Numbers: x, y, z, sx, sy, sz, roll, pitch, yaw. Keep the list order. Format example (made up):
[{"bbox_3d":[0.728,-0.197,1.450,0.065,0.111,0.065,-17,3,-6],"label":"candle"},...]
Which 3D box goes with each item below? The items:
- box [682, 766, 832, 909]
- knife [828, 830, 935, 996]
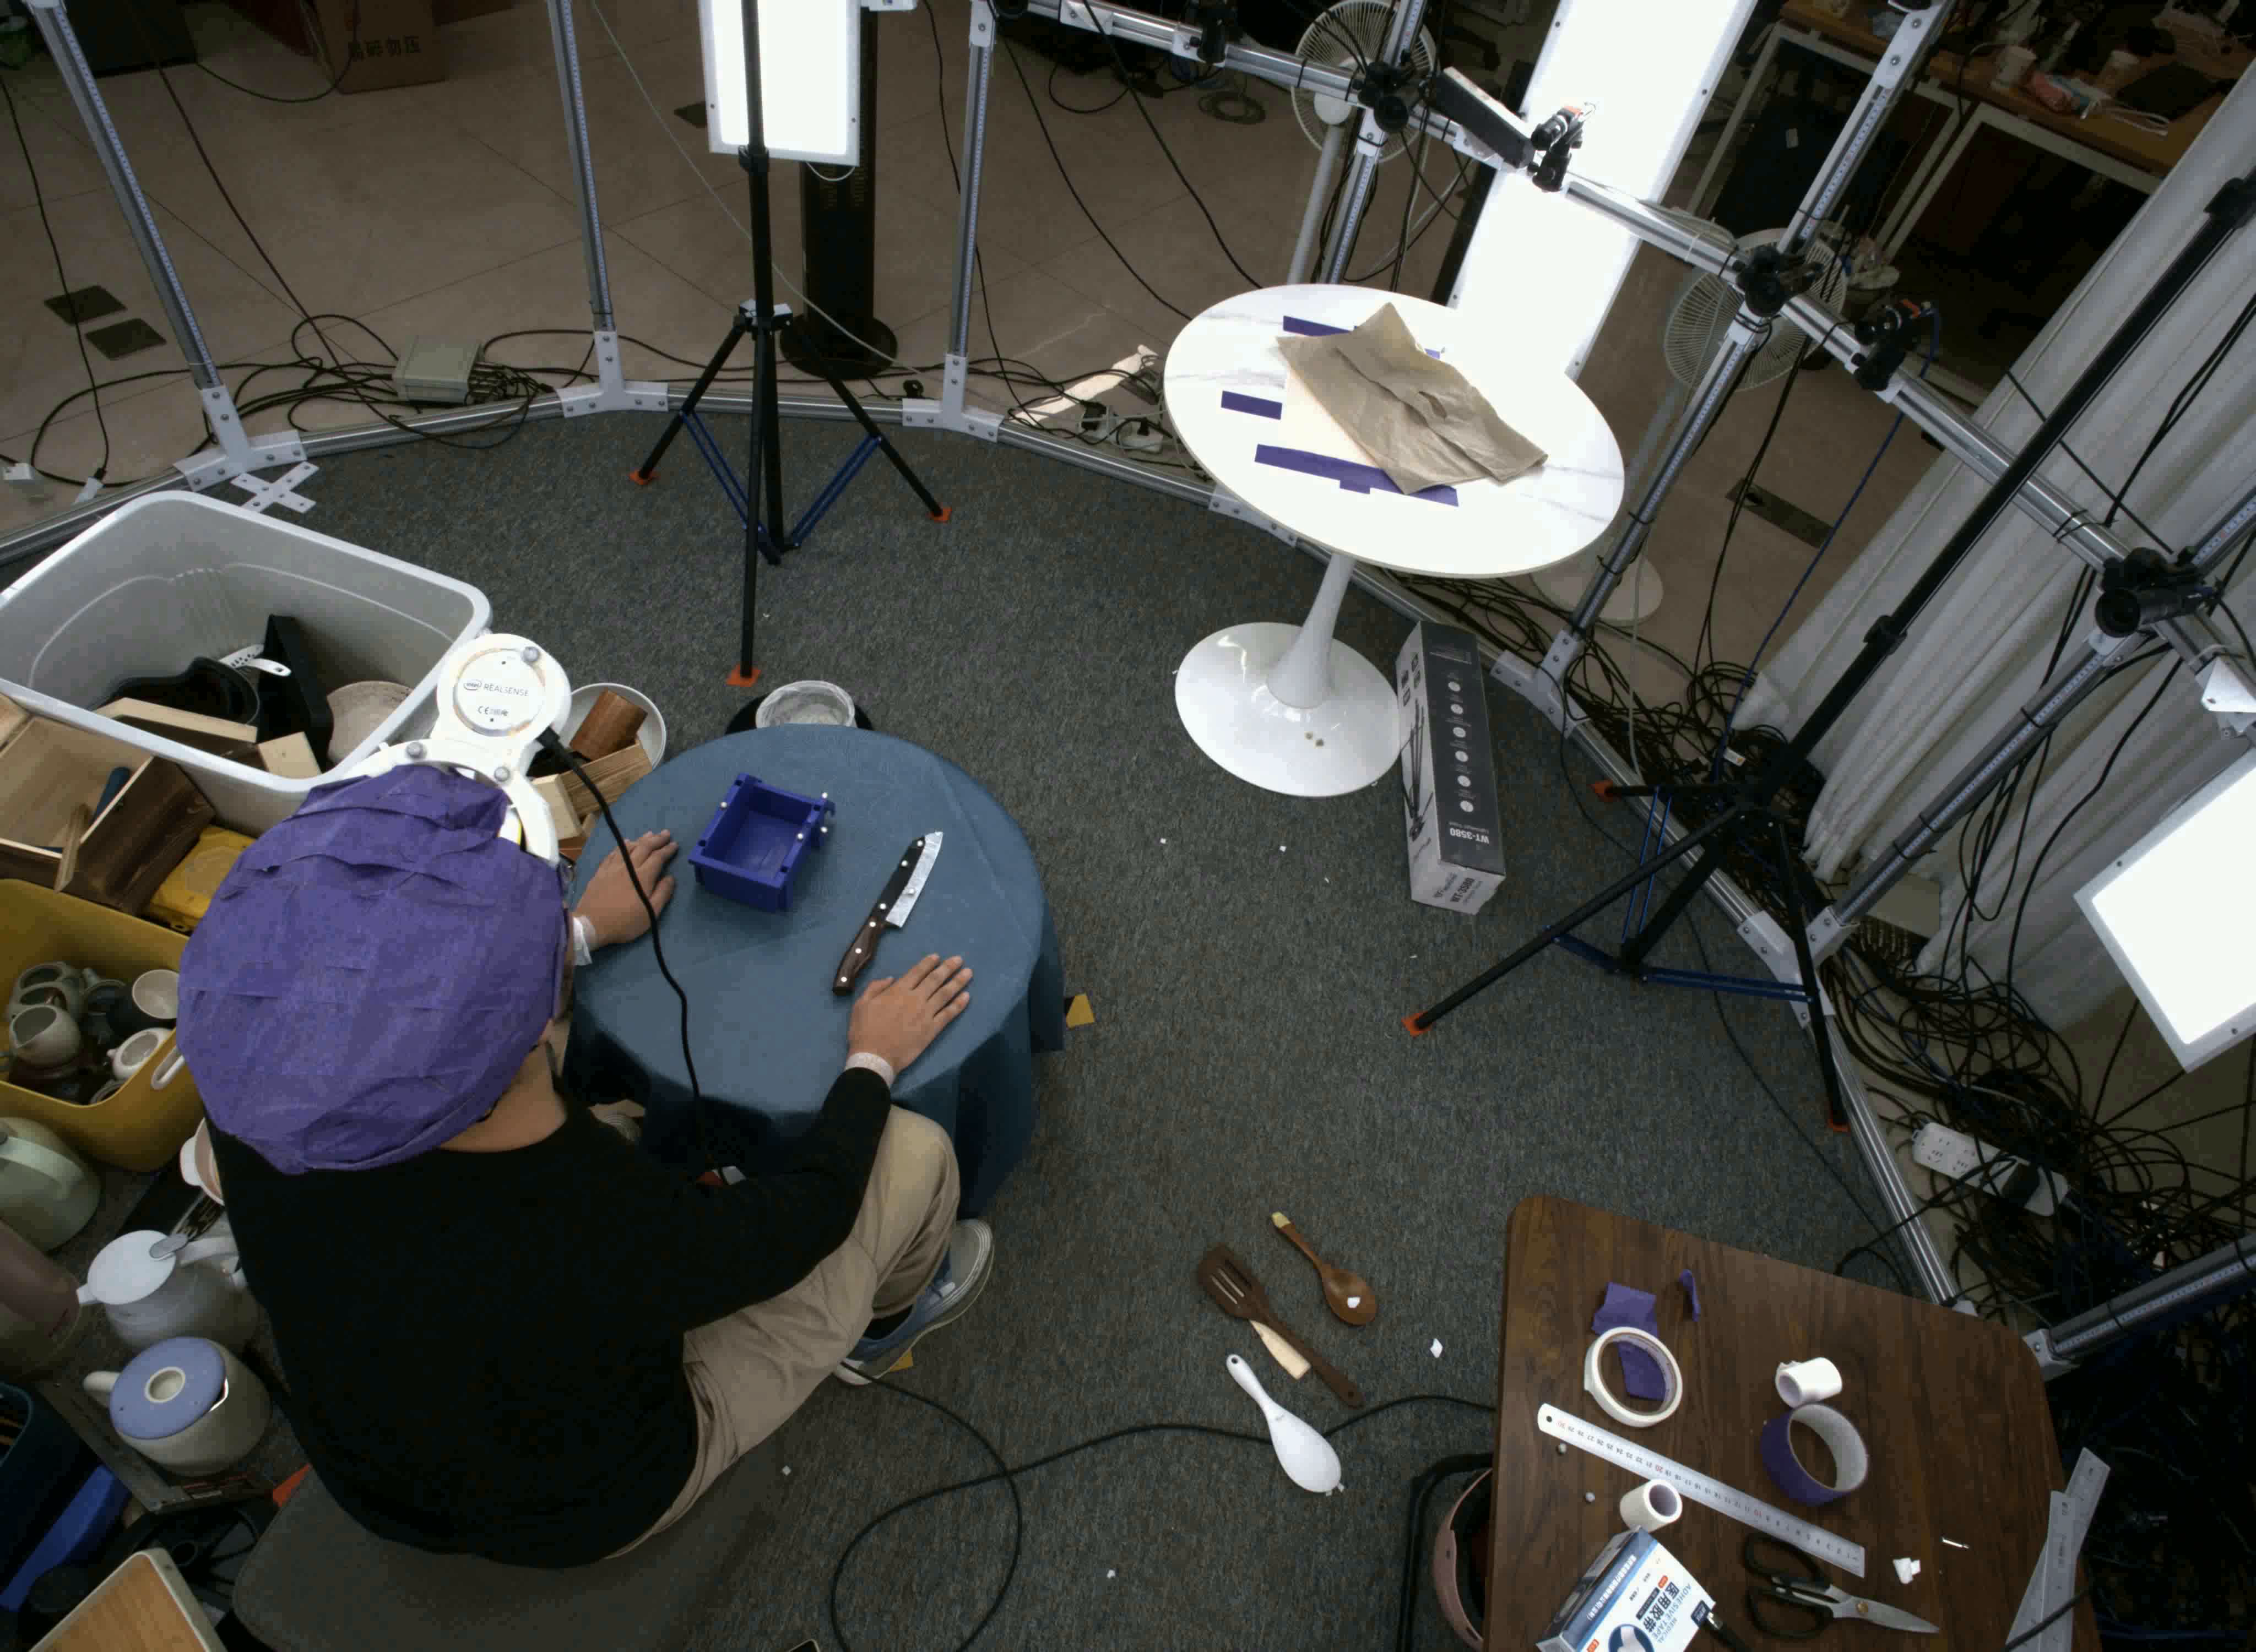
[{"bbox_3d":[-0.471,0.007,1.649,0.123,0.083,0.177,18,54,1],"label":"box"},{"bbox_3d":[-0.311,0.103,1.663,0.050,0.020,0.286,26,49,-1],"label":"knife"}]
